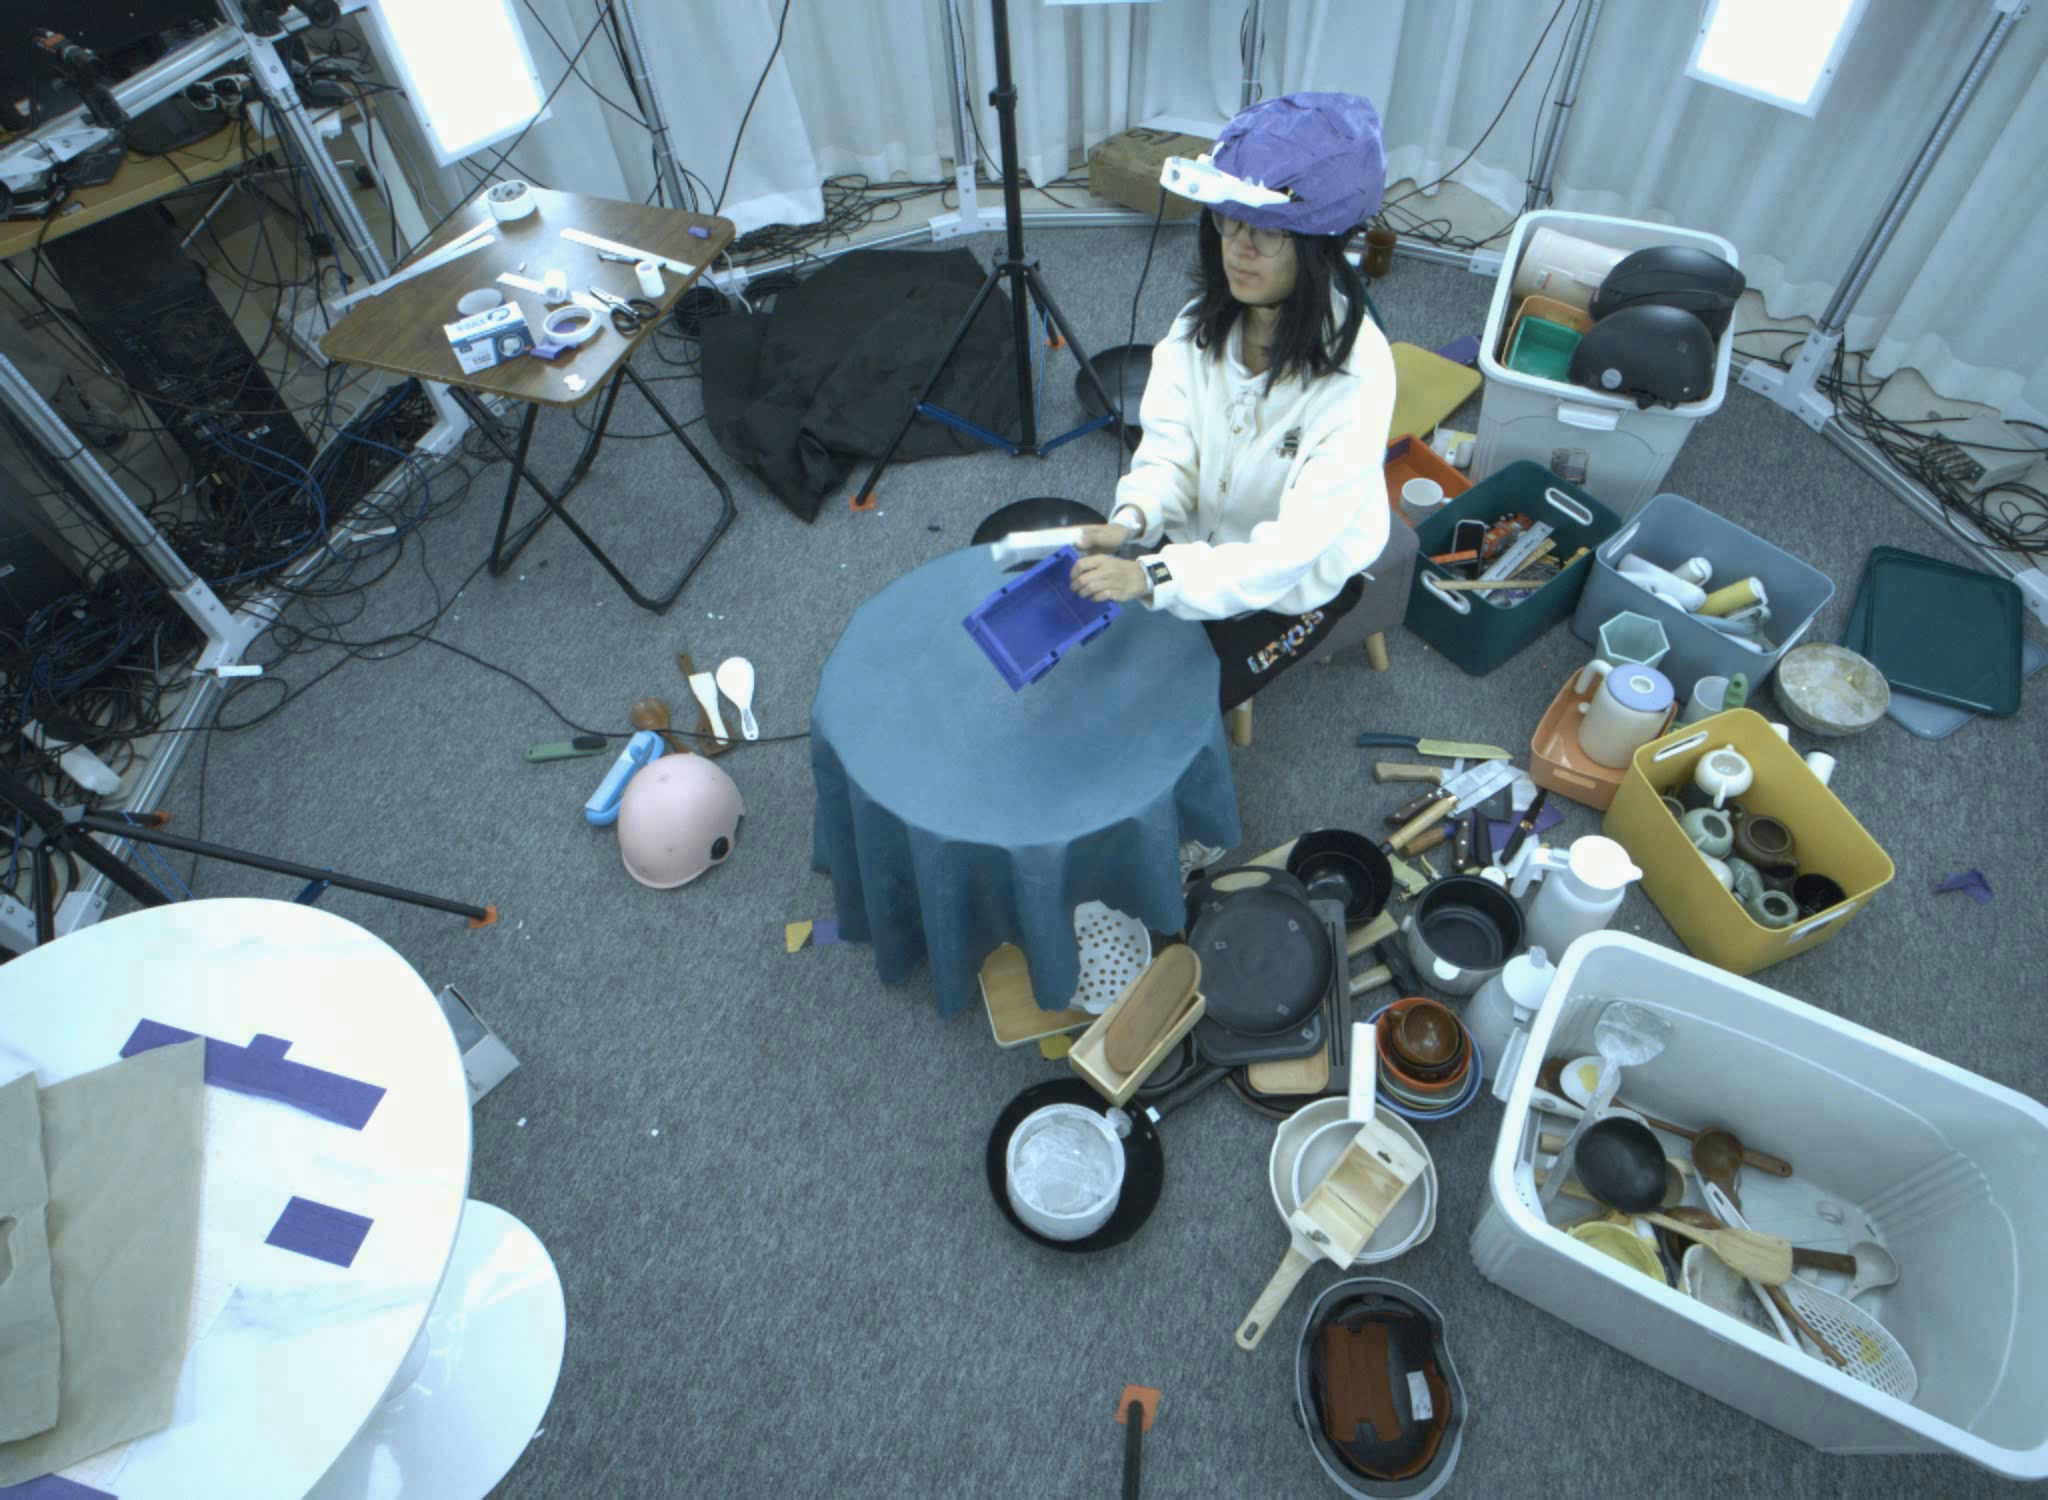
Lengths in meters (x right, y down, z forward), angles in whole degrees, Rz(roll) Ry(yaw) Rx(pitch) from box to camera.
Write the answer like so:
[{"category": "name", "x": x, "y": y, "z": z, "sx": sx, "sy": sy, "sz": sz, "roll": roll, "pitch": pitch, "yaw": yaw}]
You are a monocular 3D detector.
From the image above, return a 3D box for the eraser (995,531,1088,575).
[{"category": "eraser", "x": 0.027, "y": -0.279, "z": 1.731, "sx": 0.137, "sy": 0.049, "sz": 0.046, "roll": -14, "pitch": 85, "yaw": -43}]

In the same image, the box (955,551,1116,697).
[{"category": "box", "x": 0.014, "y": -0.168, "z": 1.673, "sx": 0.181, "sy": 0.081, "sz": 0.124, "roll": -36, "pitch": 90, "yaw": -32}]
